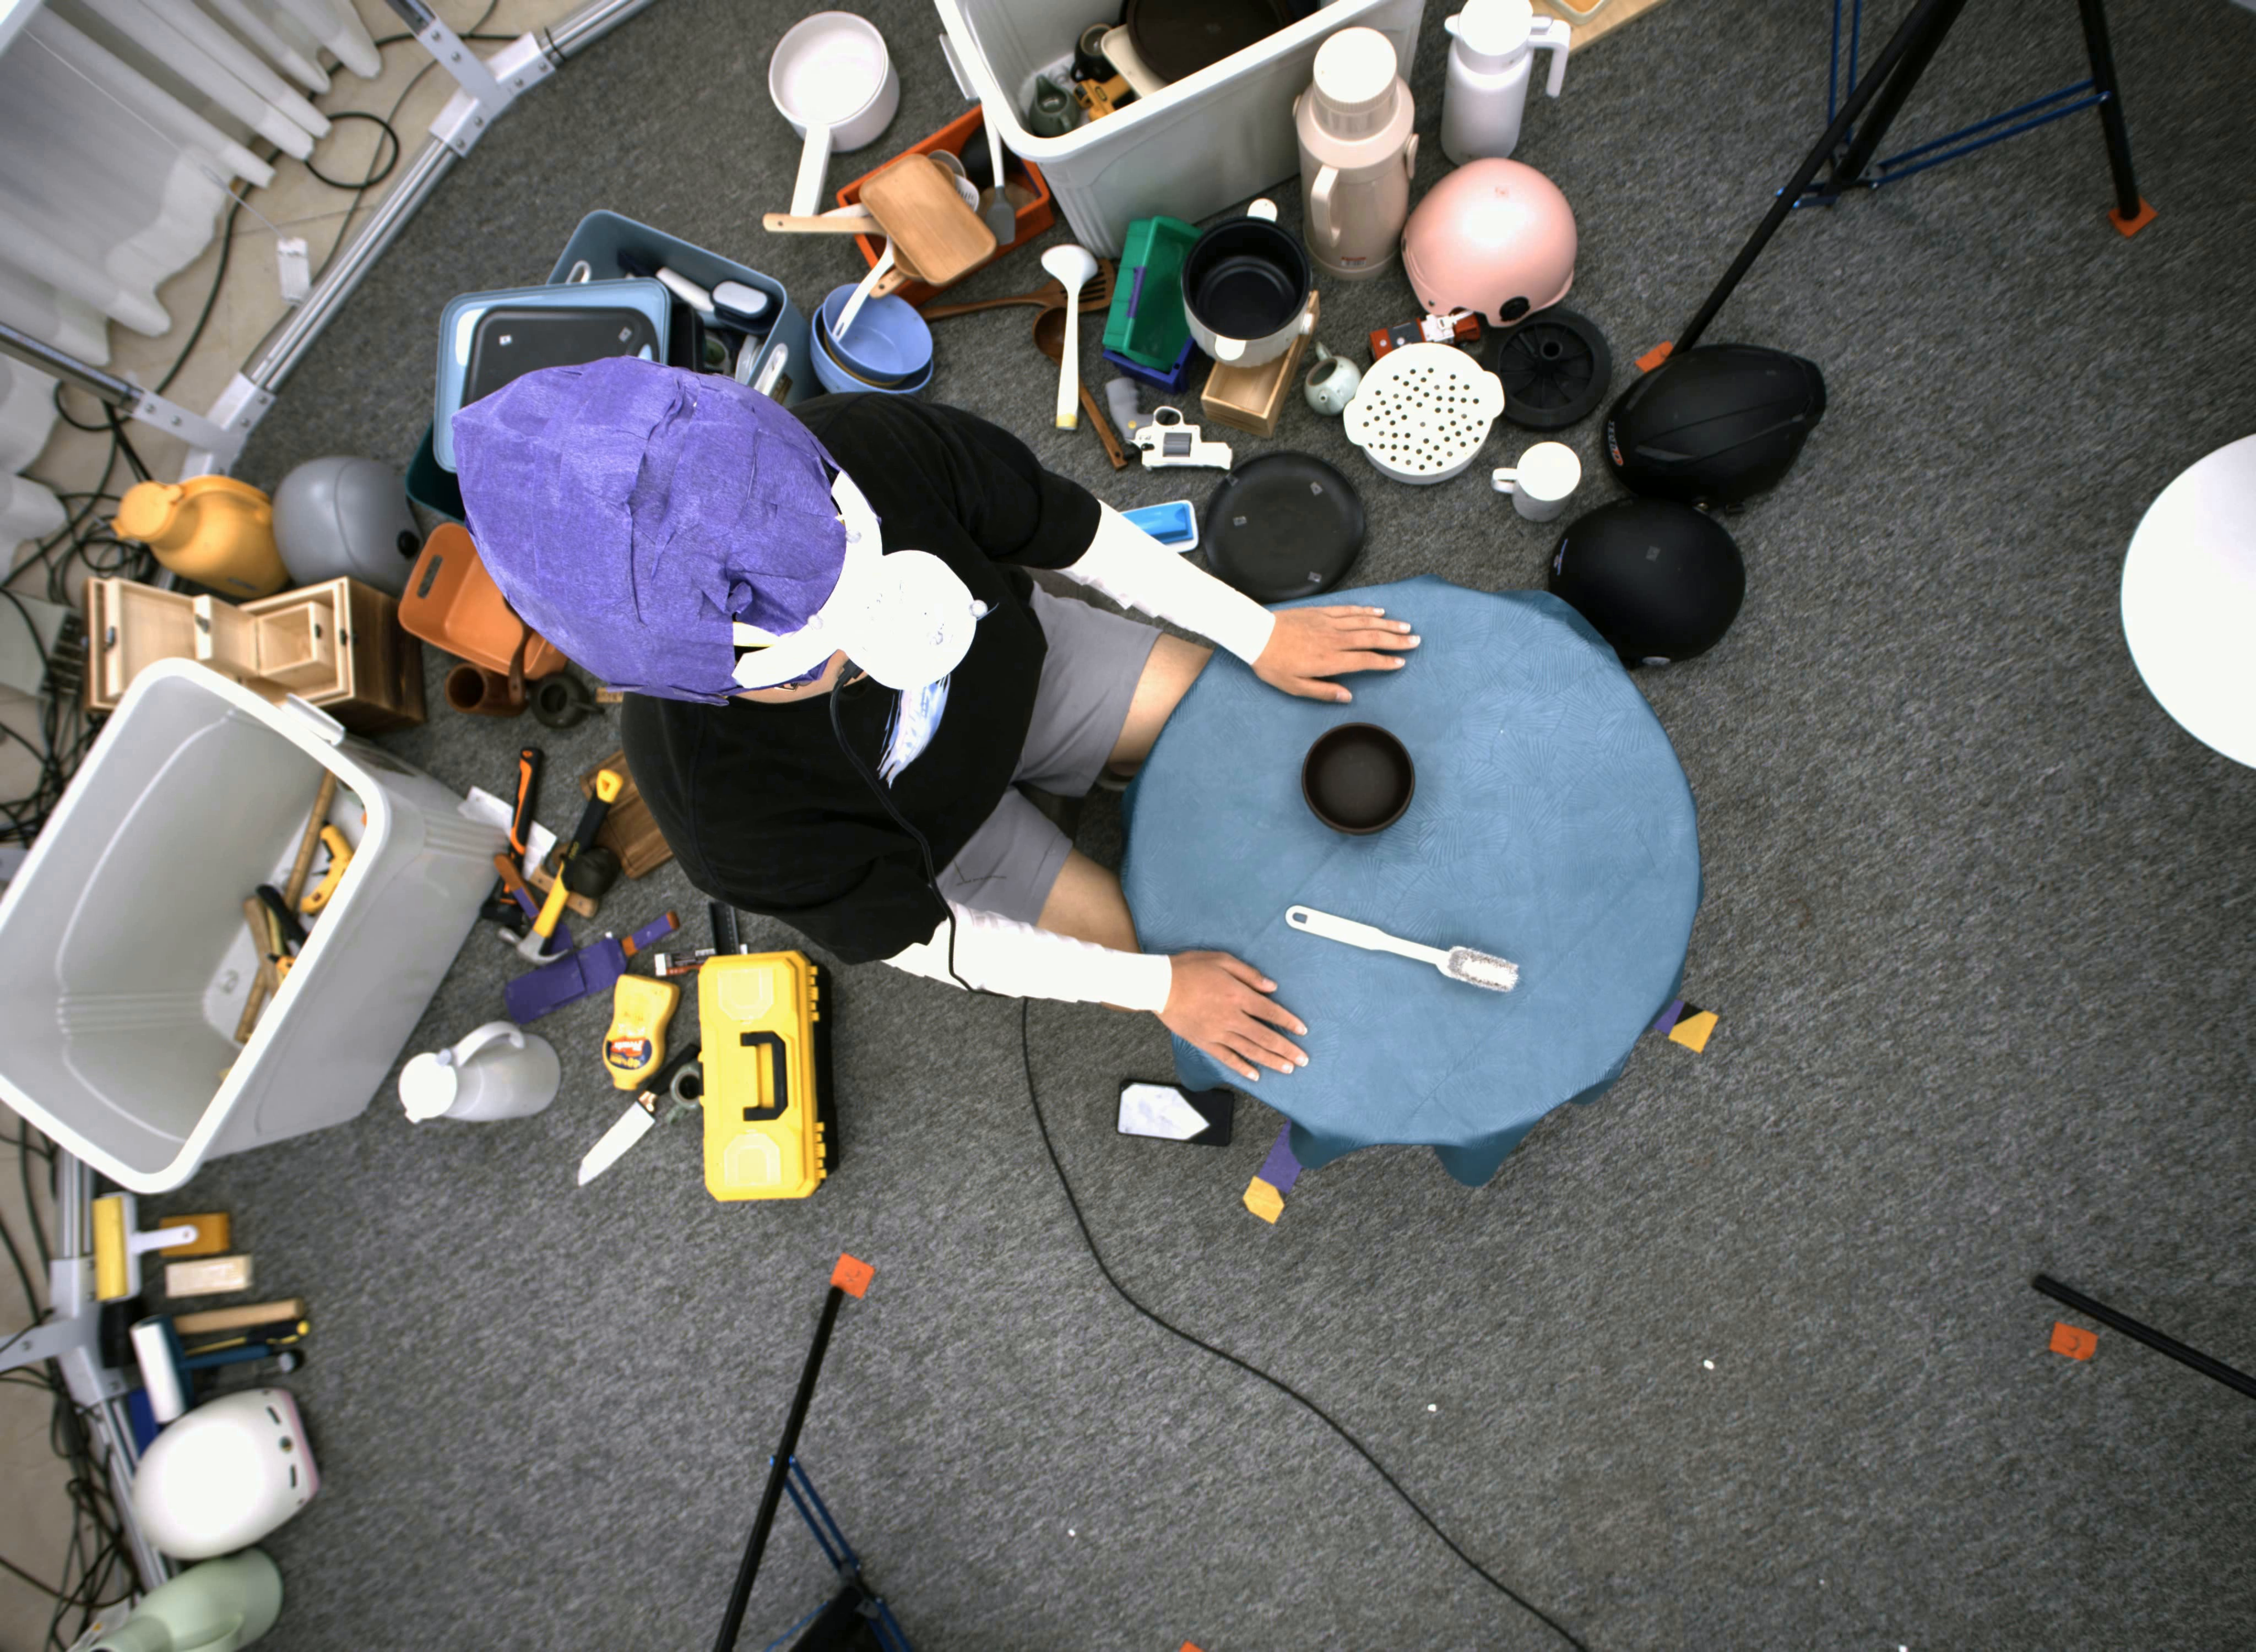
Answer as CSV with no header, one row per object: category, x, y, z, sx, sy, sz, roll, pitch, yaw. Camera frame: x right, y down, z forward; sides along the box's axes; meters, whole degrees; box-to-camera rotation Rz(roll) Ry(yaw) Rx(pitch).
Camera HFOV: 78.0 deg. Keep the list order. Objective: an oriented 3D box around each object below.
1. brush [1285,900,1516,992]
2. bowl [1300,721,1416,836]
brush,0.279,0.120,1.428,0.244,0.050,0.034,17,88,10
bowl,0.240,-0.048,1.434,0.118,0.070,0.117,-1,87,13
